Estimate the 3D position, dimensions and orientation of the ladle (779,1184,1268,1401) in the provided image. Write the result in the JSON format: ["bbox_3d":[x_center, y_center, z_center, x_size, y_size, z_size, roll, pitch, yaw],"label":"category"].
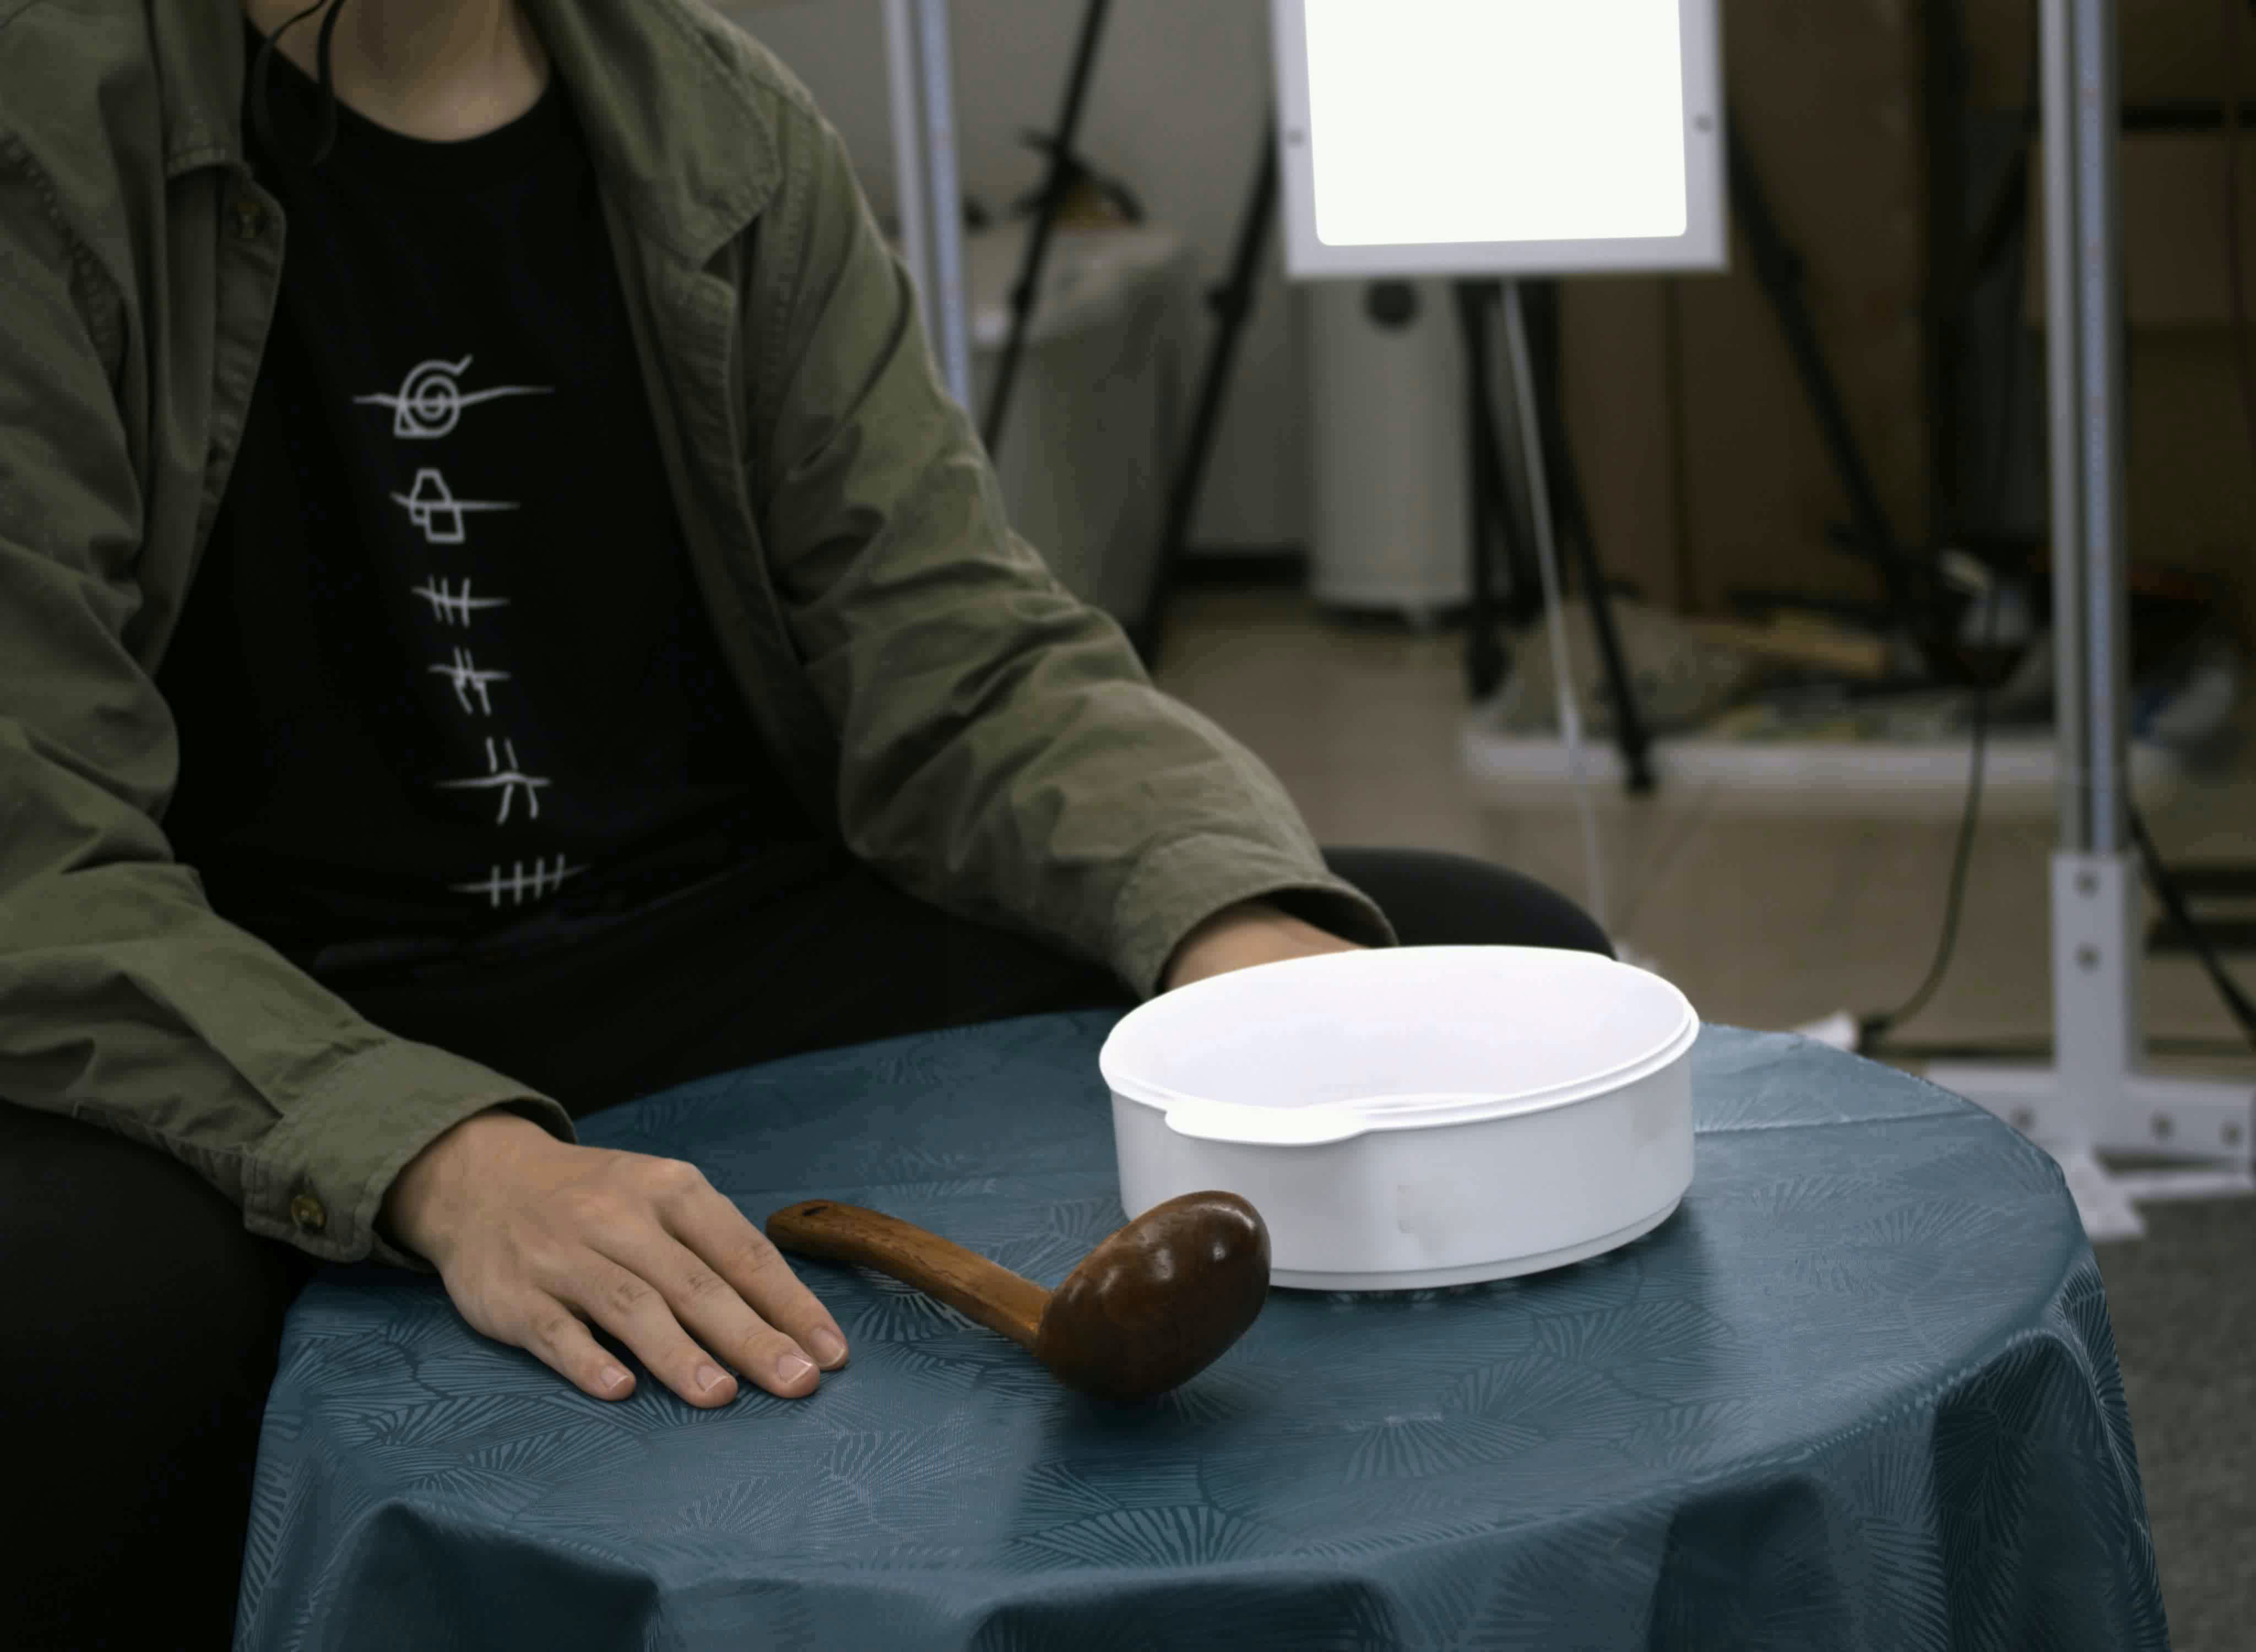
[{"bbox_3d":[-0.048,0.126,1.752,0.080,0.077,0.279,-17,17,-28],"label":"ladle"}]

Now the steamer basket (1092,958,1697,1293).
[{"bbox_3d":[0.090,0.099,1.830,0.206,0.069,0.225,4,15,31],"label":"steamer basket"}]
